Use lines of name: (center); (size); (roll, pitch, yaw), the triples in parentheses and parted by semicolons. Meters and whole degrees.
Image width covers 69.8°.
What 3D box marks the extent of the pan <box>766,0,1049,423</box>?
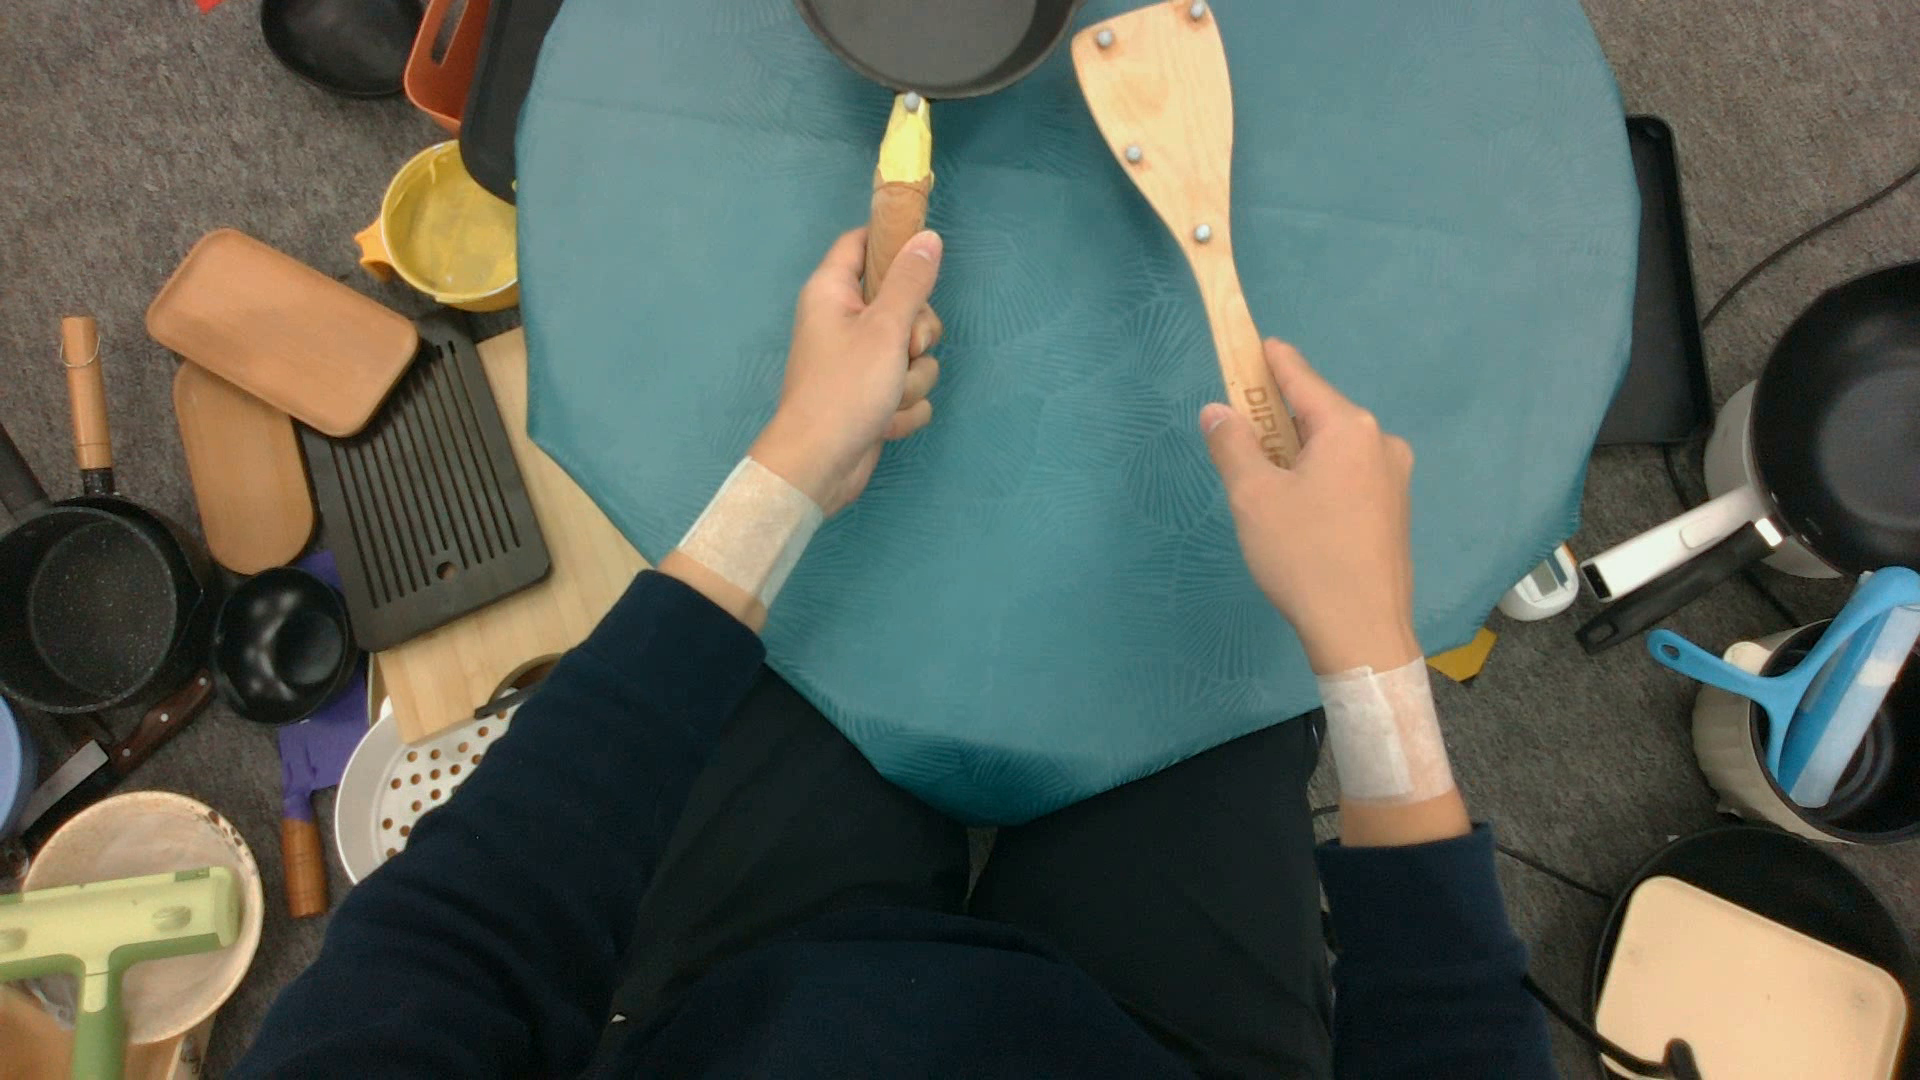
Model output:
pan: (-0.040, -0.214, 0.678); (0.169, 0.049, 0.324); (9, 81, -14)

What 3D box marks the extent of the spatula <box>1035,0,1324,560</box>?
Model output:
spatula: (0.108, -0.137, 0.650); (0.080, 0.016, 0.328); (-12, 64, -5)
